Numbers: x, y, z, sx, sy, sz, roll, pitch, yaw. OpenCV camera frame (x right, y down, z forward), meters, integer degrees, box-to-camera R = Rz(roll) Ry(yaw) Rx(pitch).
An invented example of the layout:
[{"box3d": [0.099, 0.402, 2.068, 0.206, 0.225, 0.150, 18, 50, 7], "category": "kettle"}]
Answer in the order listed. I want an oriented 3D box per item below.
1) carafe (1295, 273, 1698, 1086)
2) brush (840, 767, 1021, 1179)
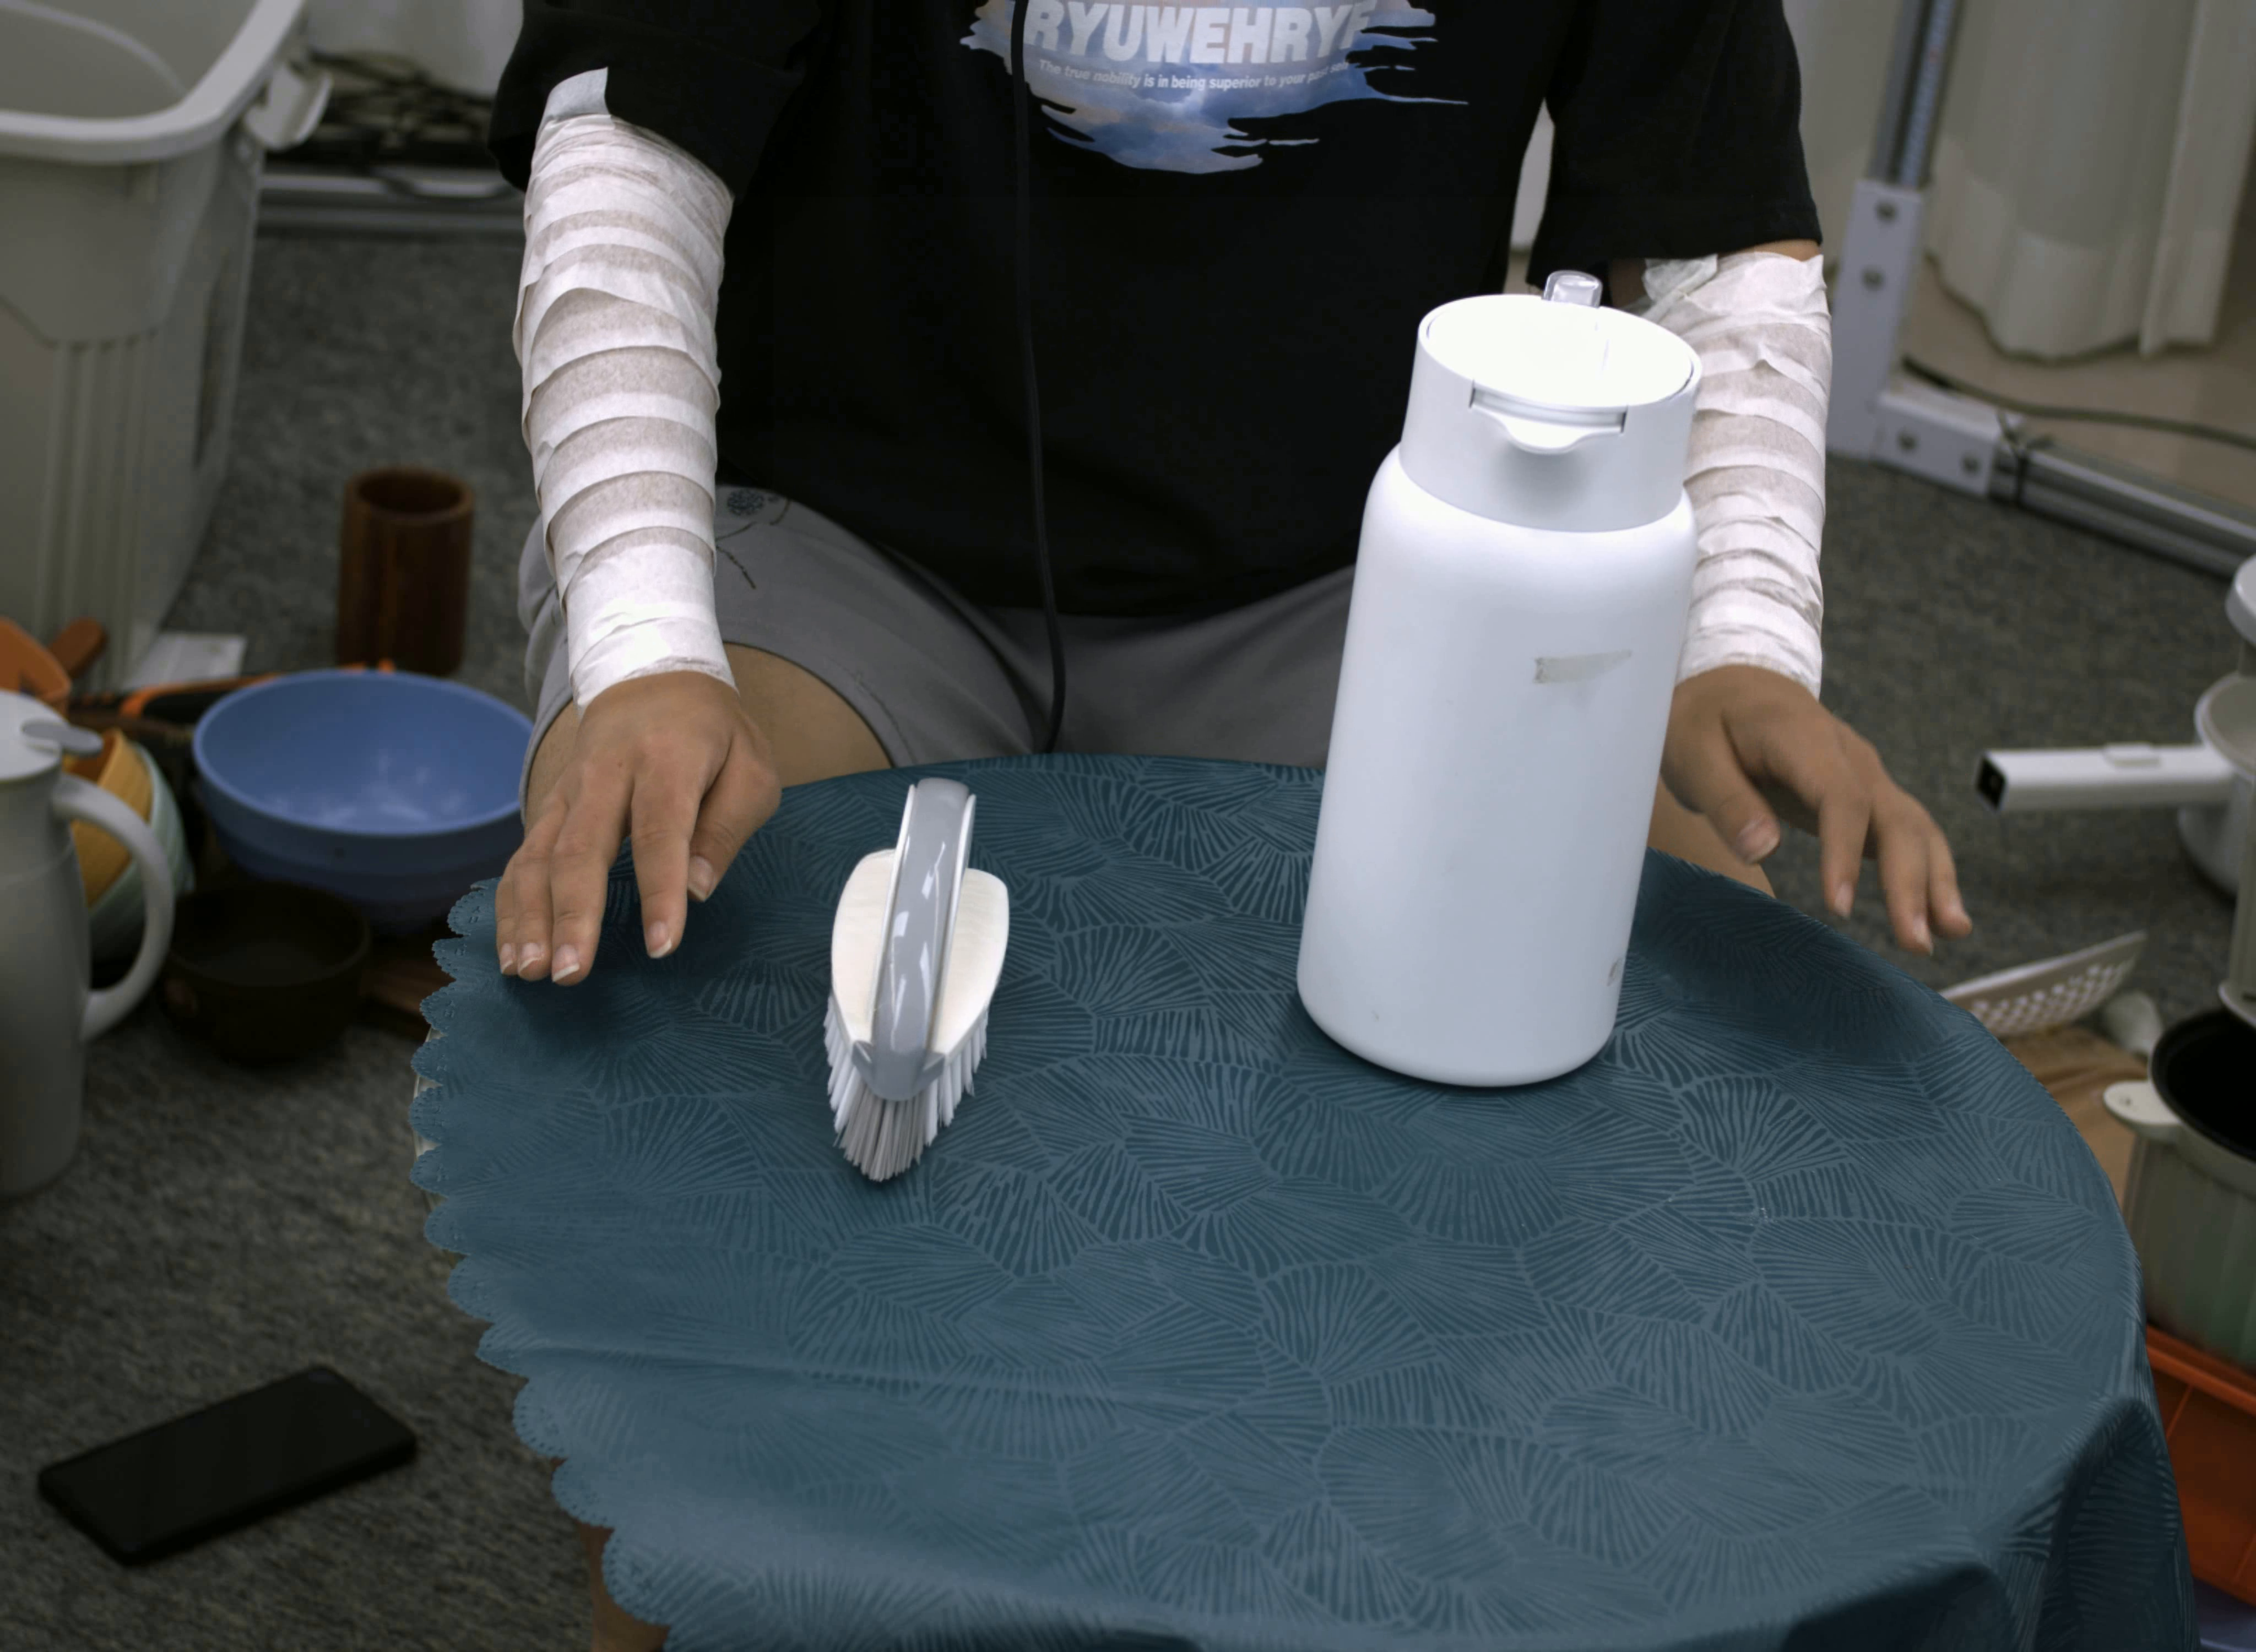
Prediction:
[{"box3d": [0.133, -0.056, 1.894, 0.123, 0.268, 0.173, 7, 26, 4], "category": "carafe"}, {"box3d": [-0.071, 0.043, 1.846, 0.061, 0.094, 0.176, 5, 28, 2], "category": "brush"}]
